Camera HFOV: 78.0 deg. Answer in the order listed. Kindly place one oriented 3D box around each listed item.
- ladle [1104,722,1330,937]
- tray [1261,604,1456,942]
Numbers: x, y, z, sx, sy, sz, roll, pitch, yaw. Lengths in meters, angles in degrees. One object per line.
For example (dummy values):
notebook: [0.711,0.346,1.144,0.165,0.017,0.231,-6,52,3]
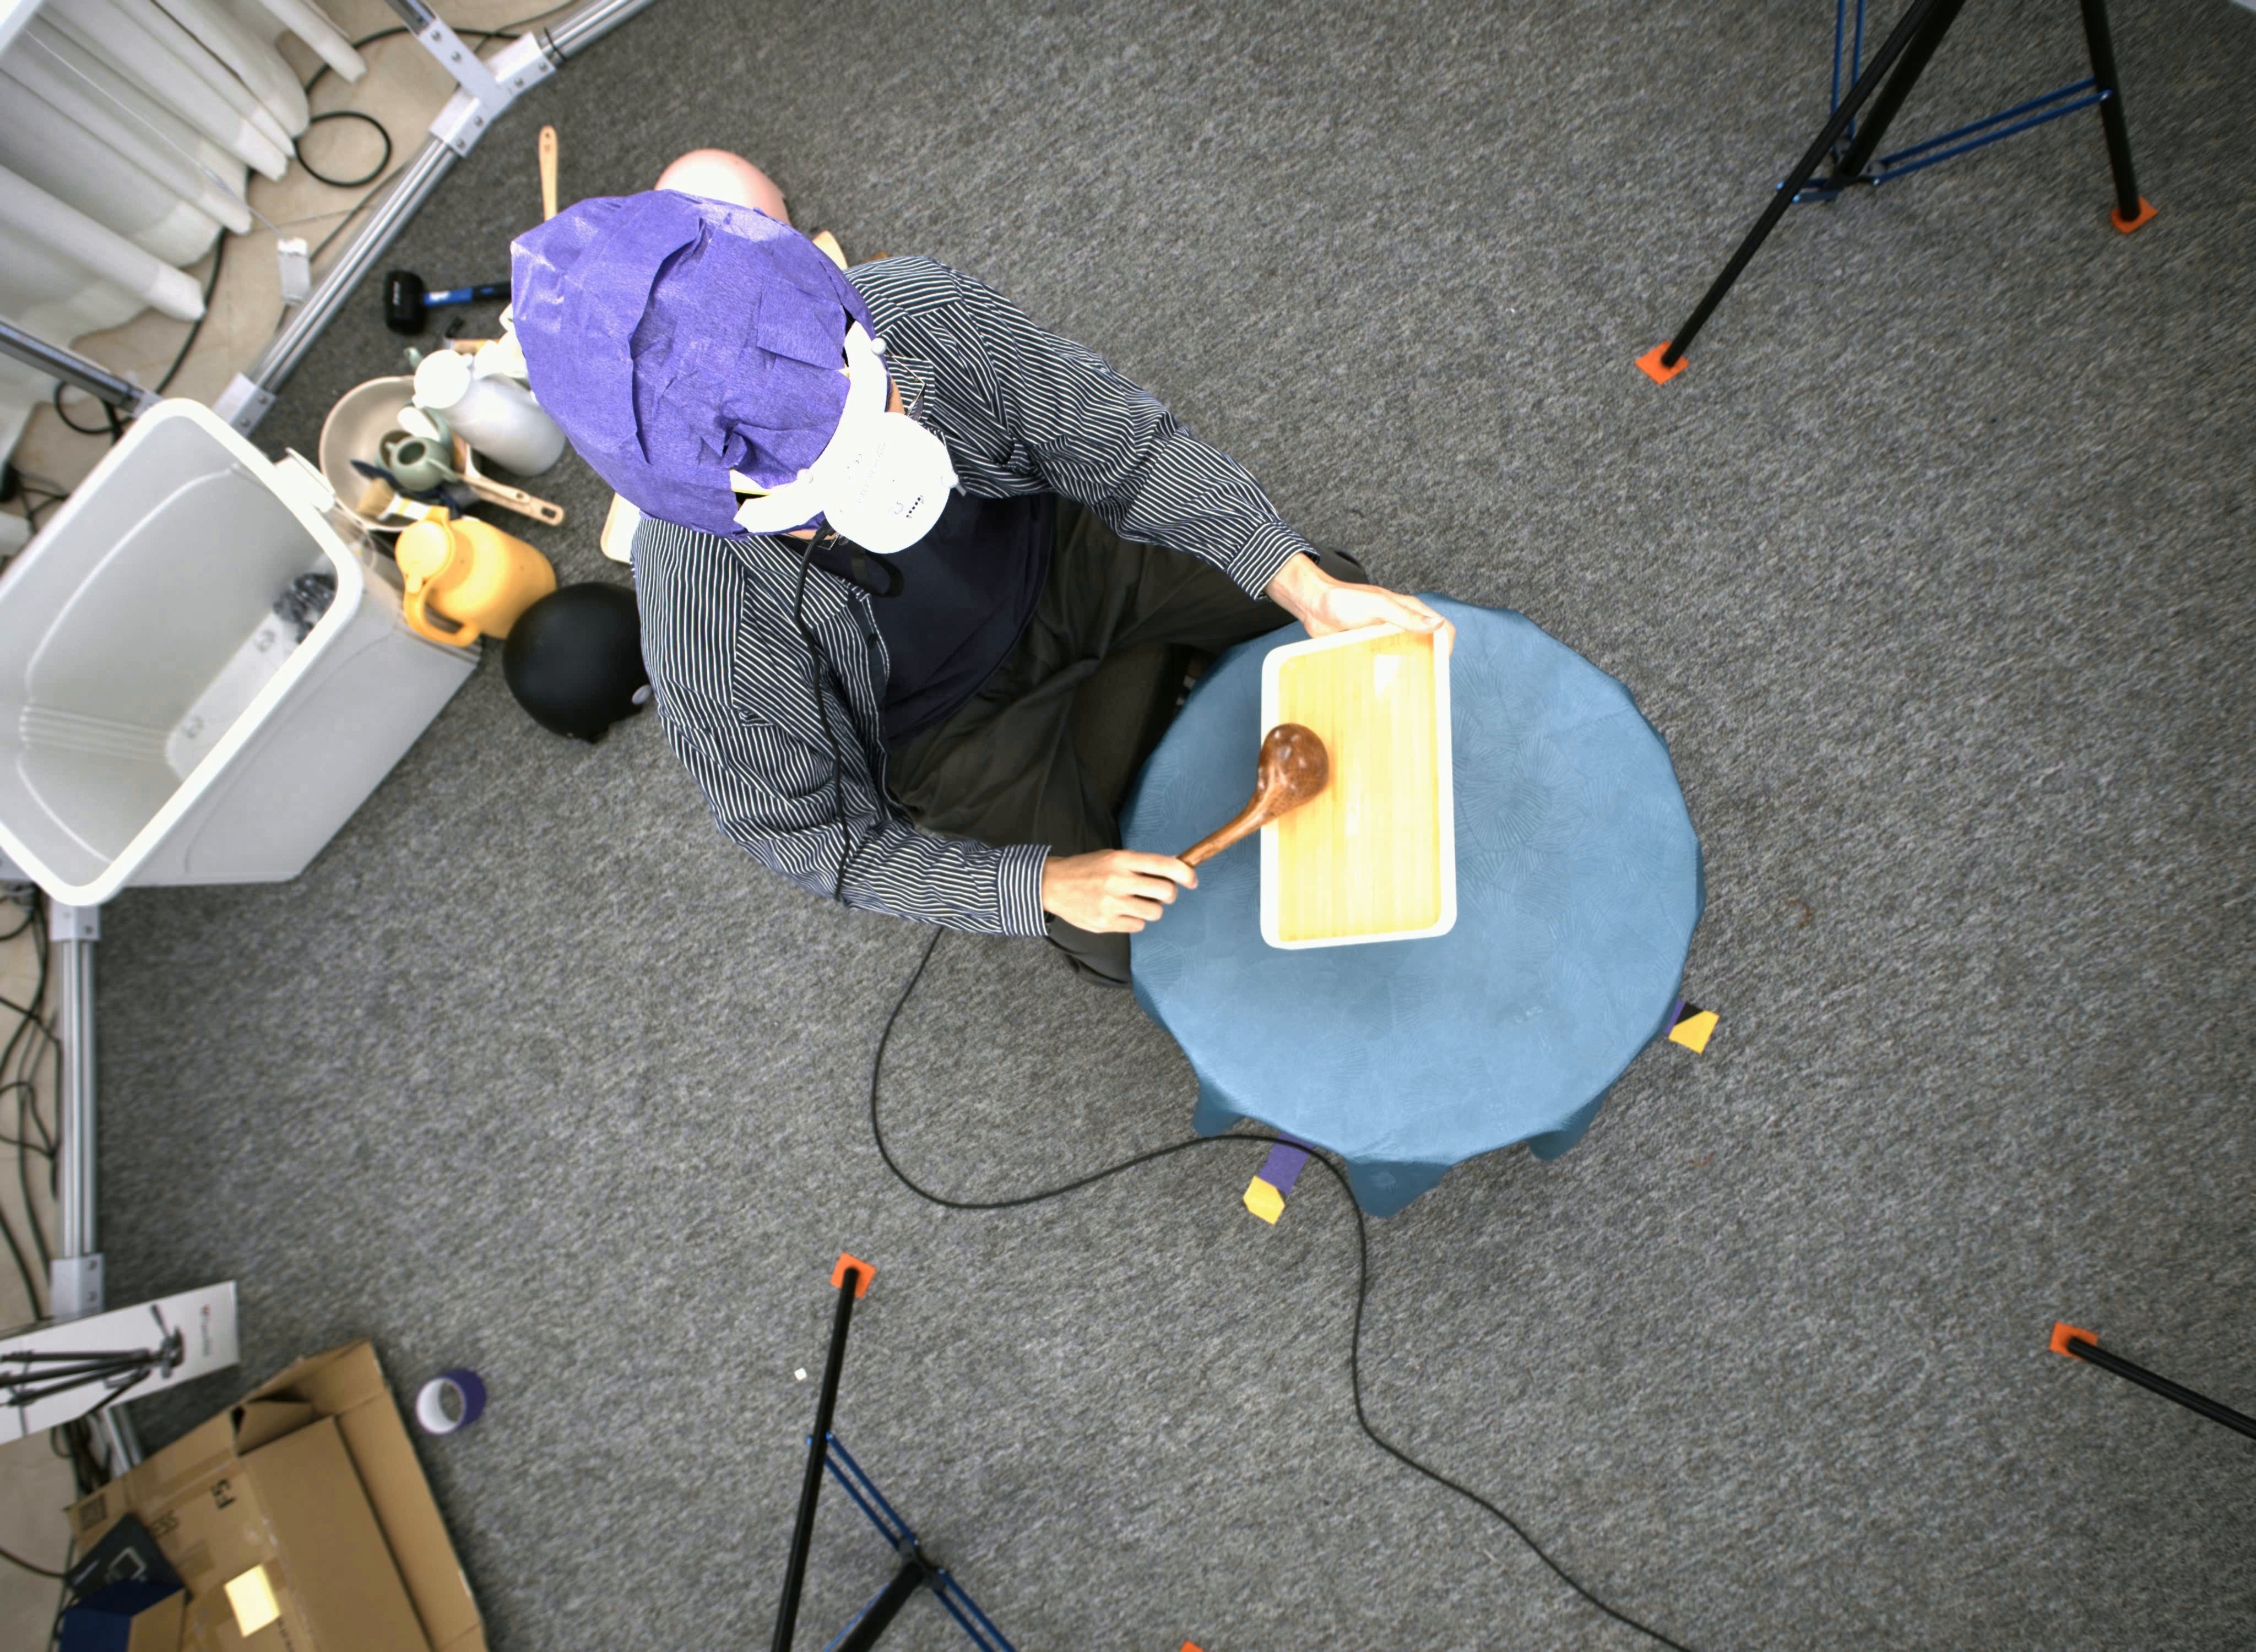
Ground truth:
ladle: [0.077,0.003,1.323,0.279,0.074,0.082,-38,120,26]
tray: [0.210,-0.047,1.276,0.193,0.027,0.297,-7,77,39]
